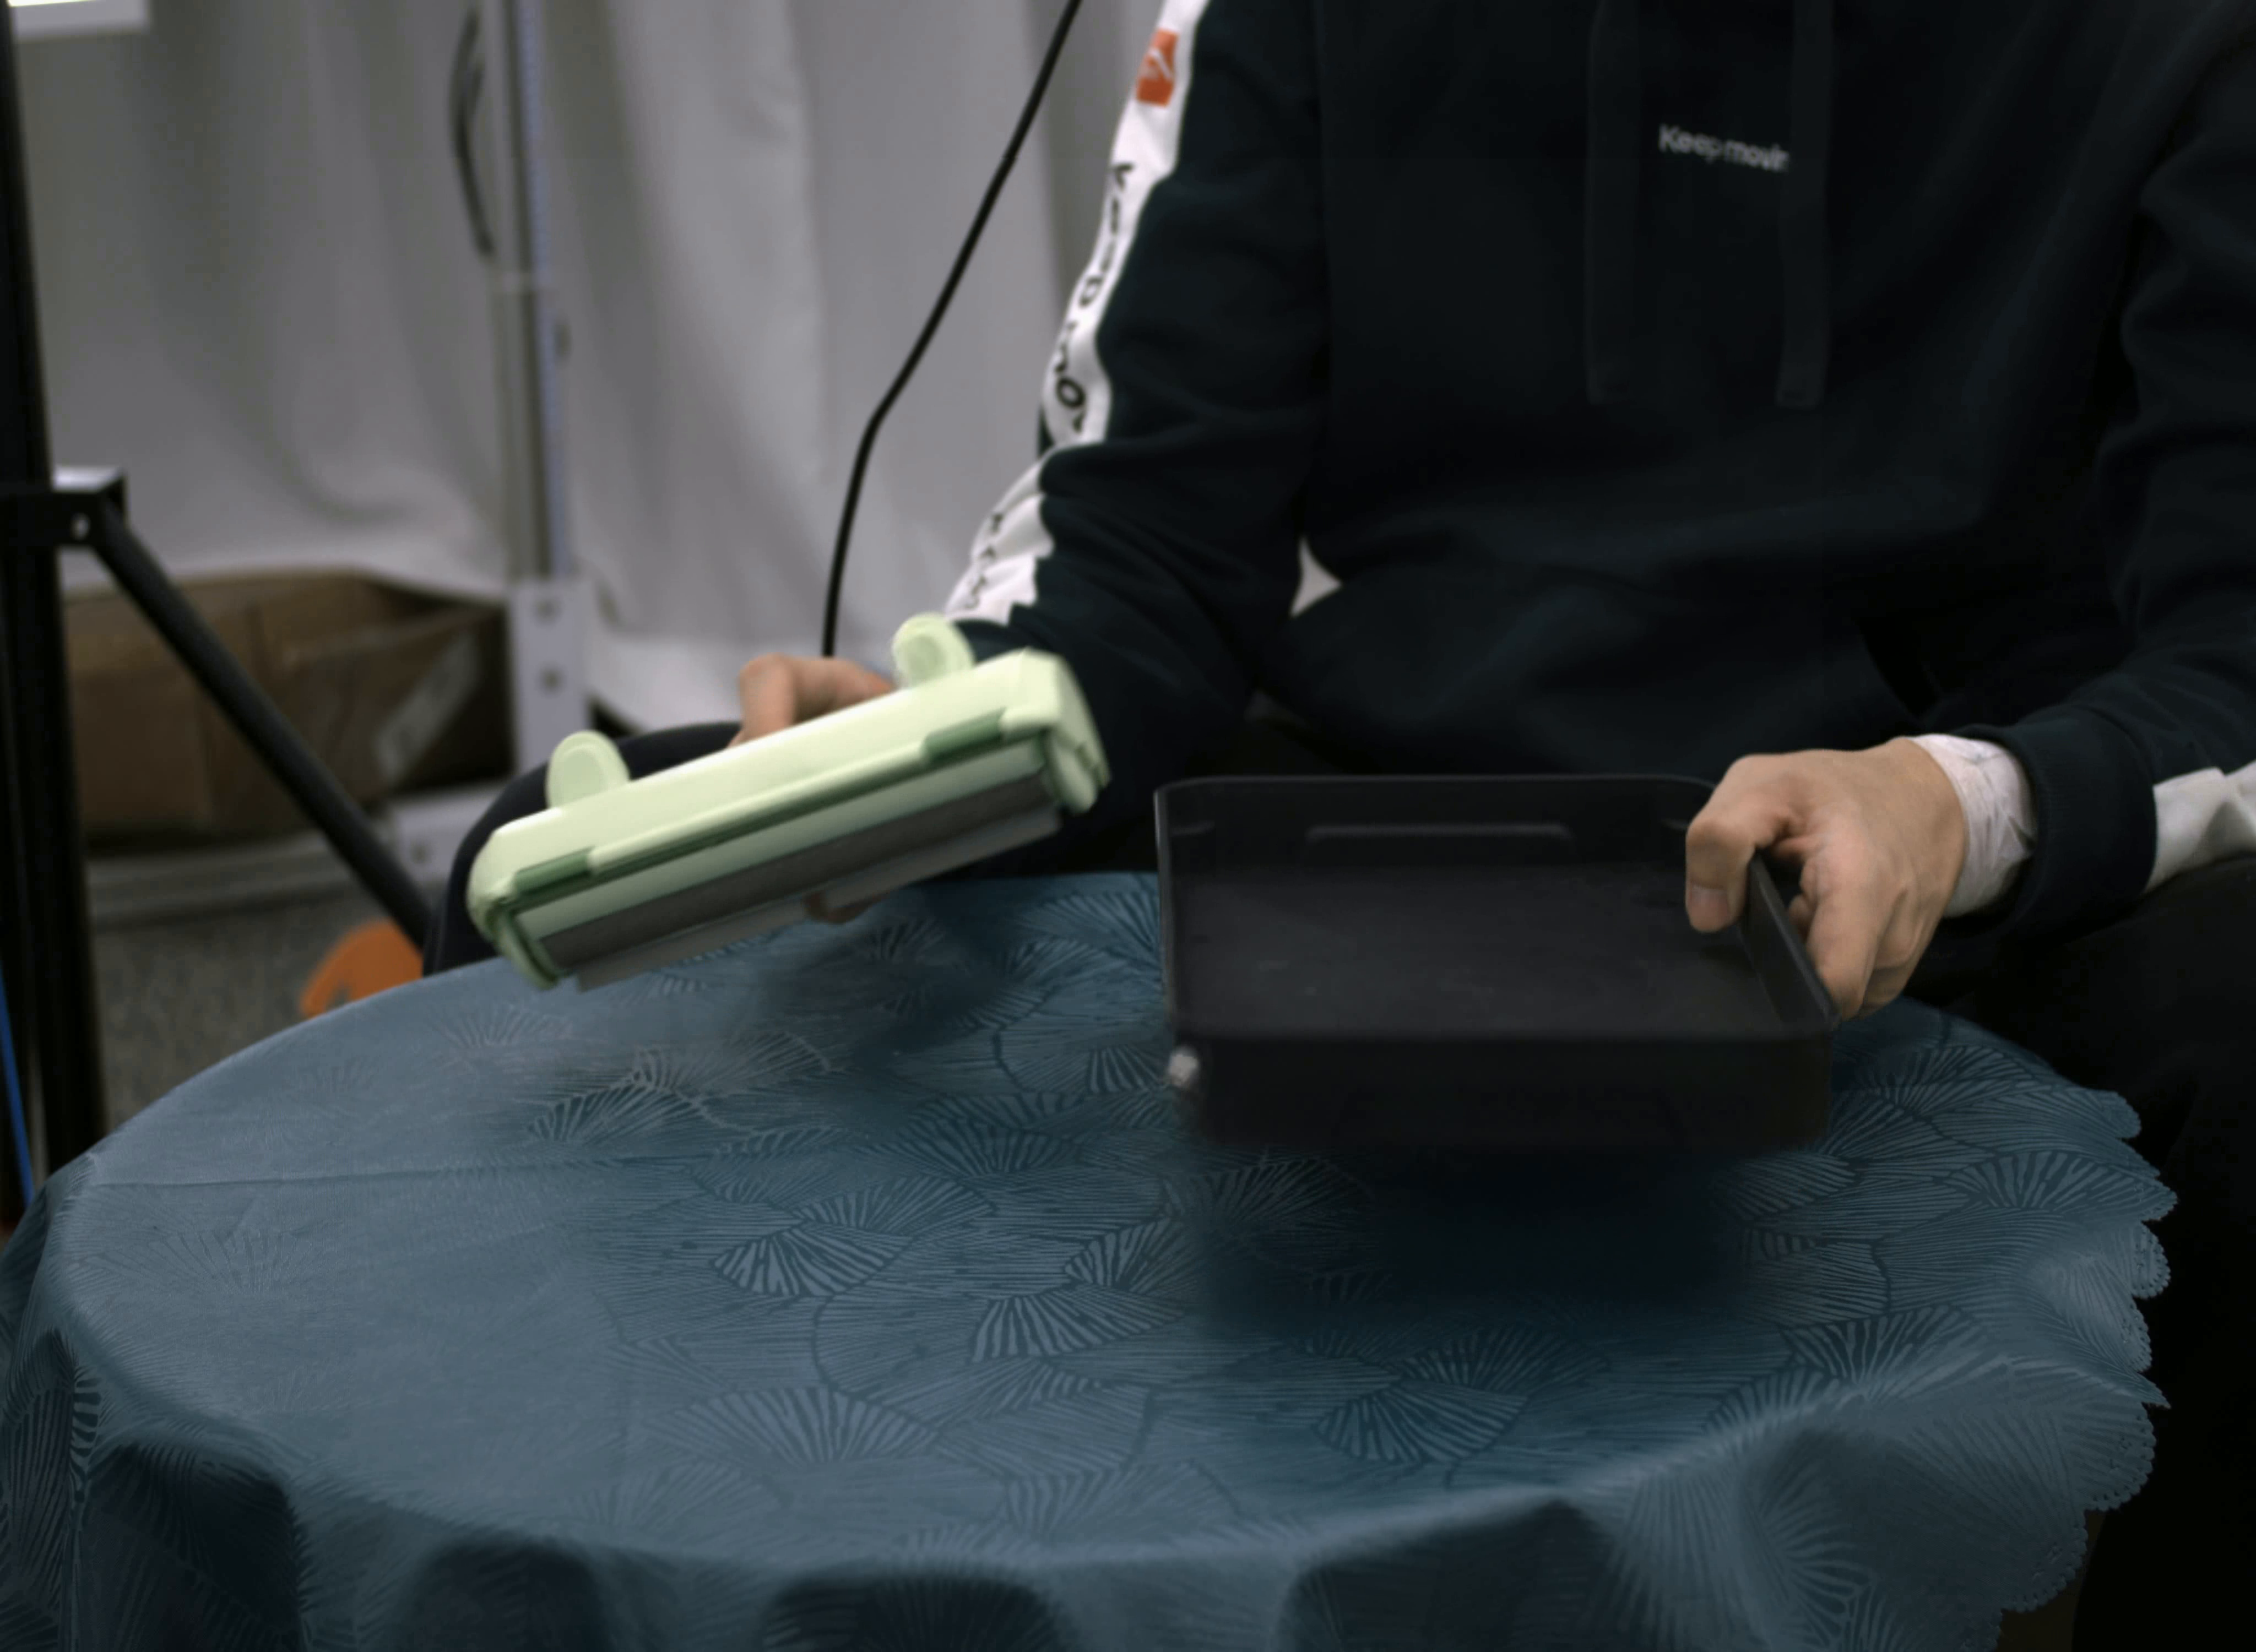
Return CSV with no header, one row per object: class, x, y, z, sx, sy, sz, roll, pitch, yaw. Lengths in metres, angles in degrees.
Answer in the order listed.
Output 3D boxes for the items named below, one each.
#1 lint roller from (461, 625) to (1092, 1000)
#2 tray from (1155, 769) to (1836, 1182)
lint roller,-0.106,-0.013,1.718,0.199,0.082,0.182,-18,7,11
tray,0.100,0.039,1.558,0.184,0.037,0.319,-1,14,1
